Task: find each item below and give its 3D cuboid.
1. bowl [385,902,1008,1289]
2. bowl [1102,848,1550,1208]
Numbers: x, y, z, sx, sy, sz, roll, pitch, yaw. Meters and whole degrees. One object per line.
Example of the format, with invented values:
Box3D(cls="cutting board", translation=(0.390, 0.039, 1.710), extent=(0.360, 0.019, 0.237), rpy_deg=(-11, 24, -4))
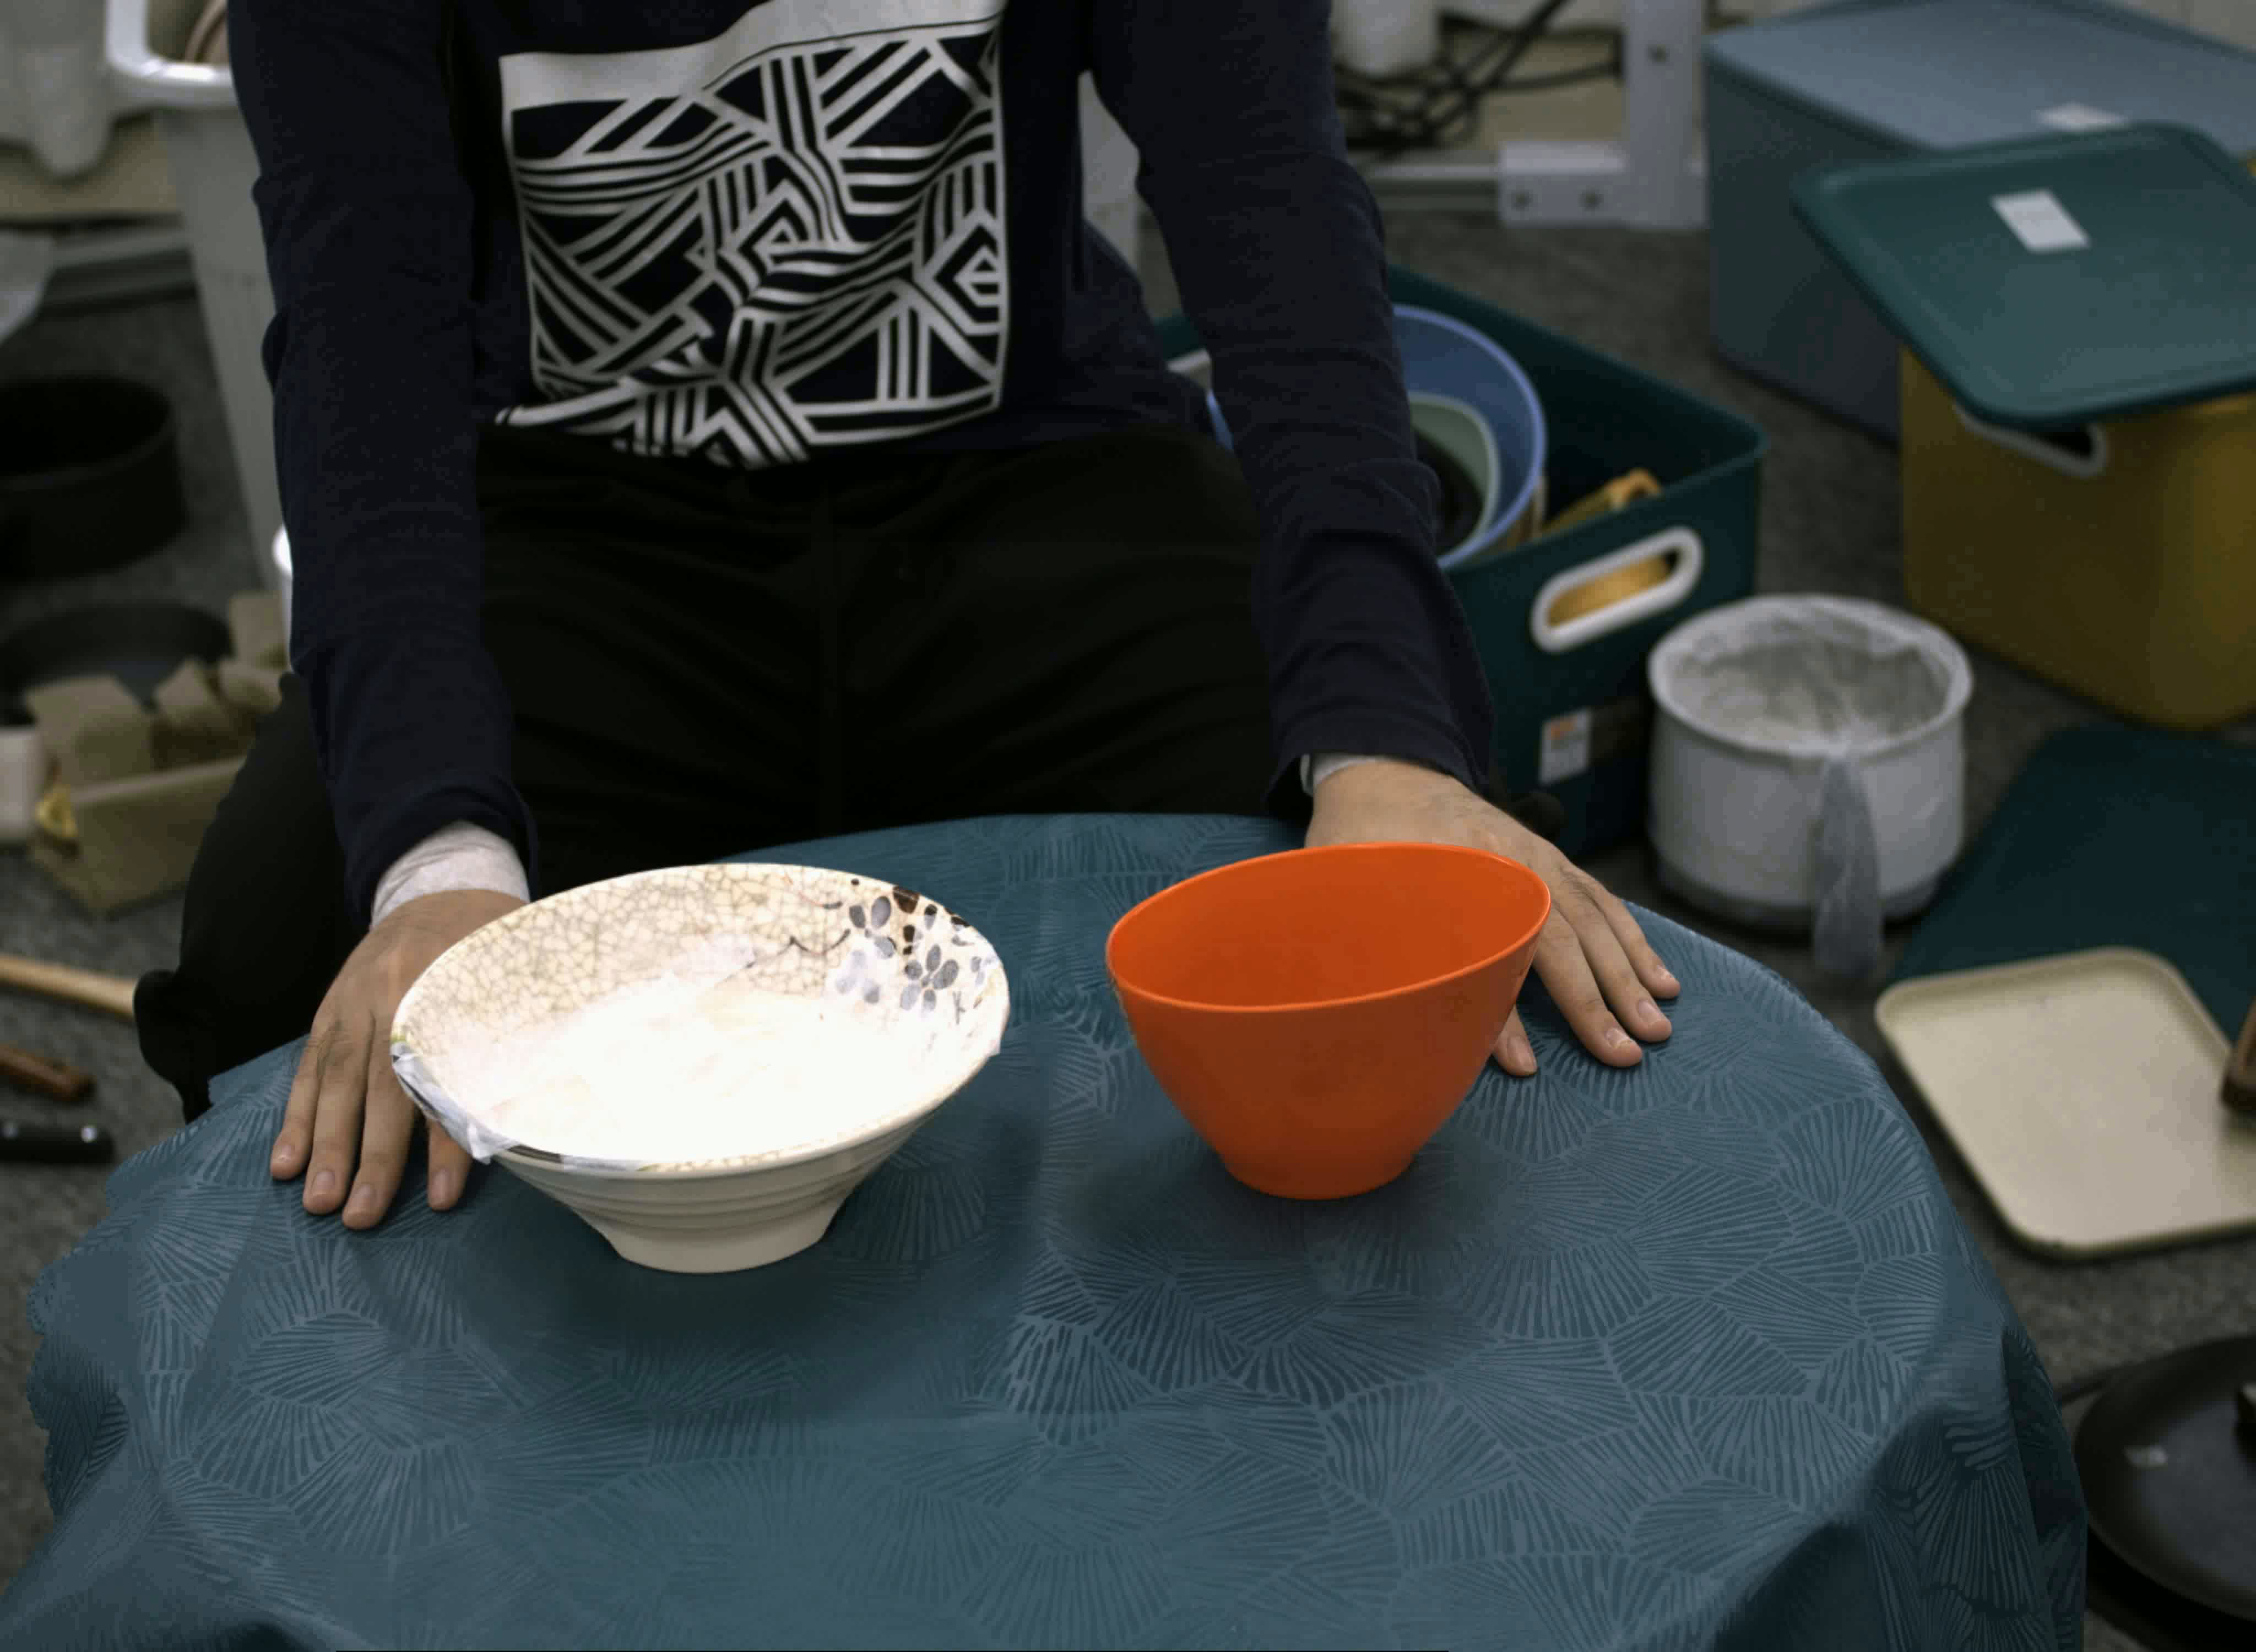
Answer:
Box3D(cls="bowl", translation=(-0.140, 0.099, 1.847), extent=(0.203, 0.077, 0.206), rpy_deg=(-1, 21, 1))
Box3D(cls="bowl", translation=(0.066, 0.069, 1.850), extent=(0.147, 0.103, 0.150), rpy_deg=(-3, 25, 2))
